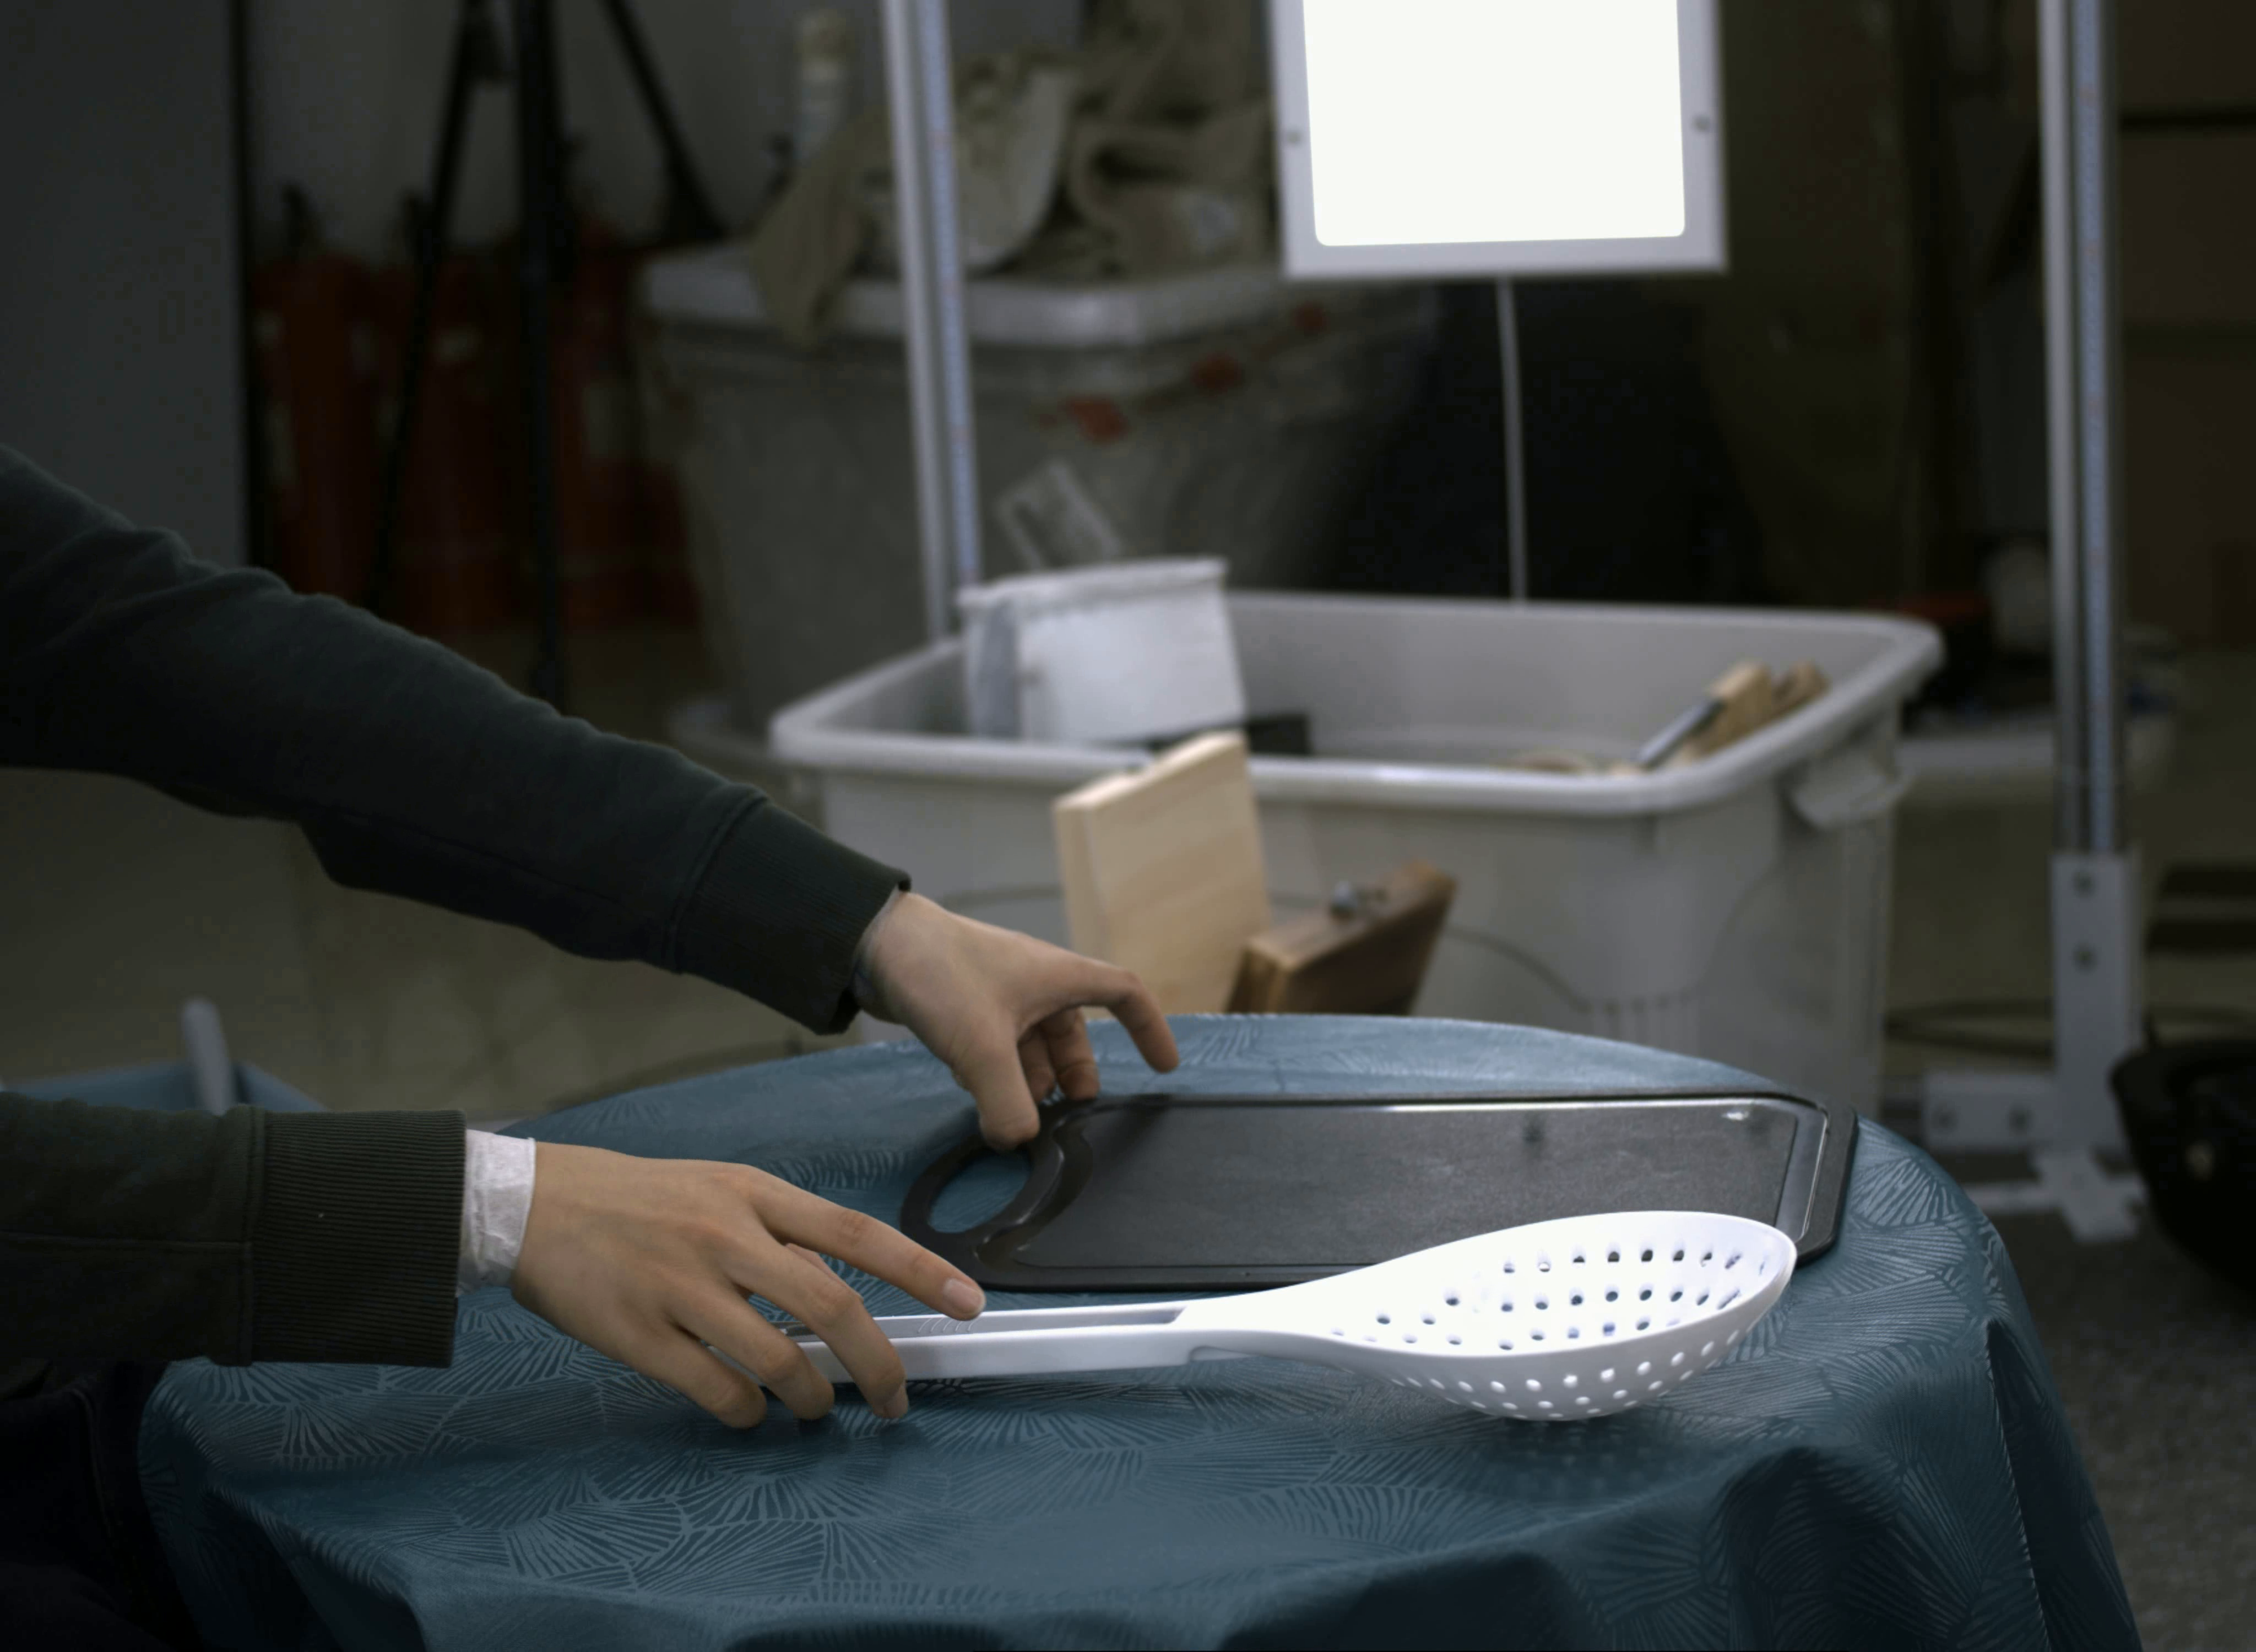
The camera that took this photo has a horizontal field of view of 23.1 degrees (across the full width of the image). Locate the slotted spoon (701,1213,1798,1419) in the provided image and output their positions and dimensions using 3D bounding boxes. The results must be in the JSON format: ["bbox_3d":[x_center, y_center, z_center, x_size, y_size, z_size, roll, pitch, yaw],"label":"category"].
[{"bbox_3d":[0.033,0.153,1.683,0.354,0.046,0.134,-1,12,20],"label":"slotted spoon"}]

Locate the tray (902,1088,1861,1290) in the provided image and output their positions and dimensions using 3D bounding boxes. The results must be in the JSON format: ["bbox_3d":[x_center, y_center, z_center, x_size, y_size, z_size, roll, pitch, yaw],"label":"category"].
[{"bbox_3d":[0.085,0.121,1.875,0.328,0.010,0.208,-2,14,13],"label":"tray"}]
